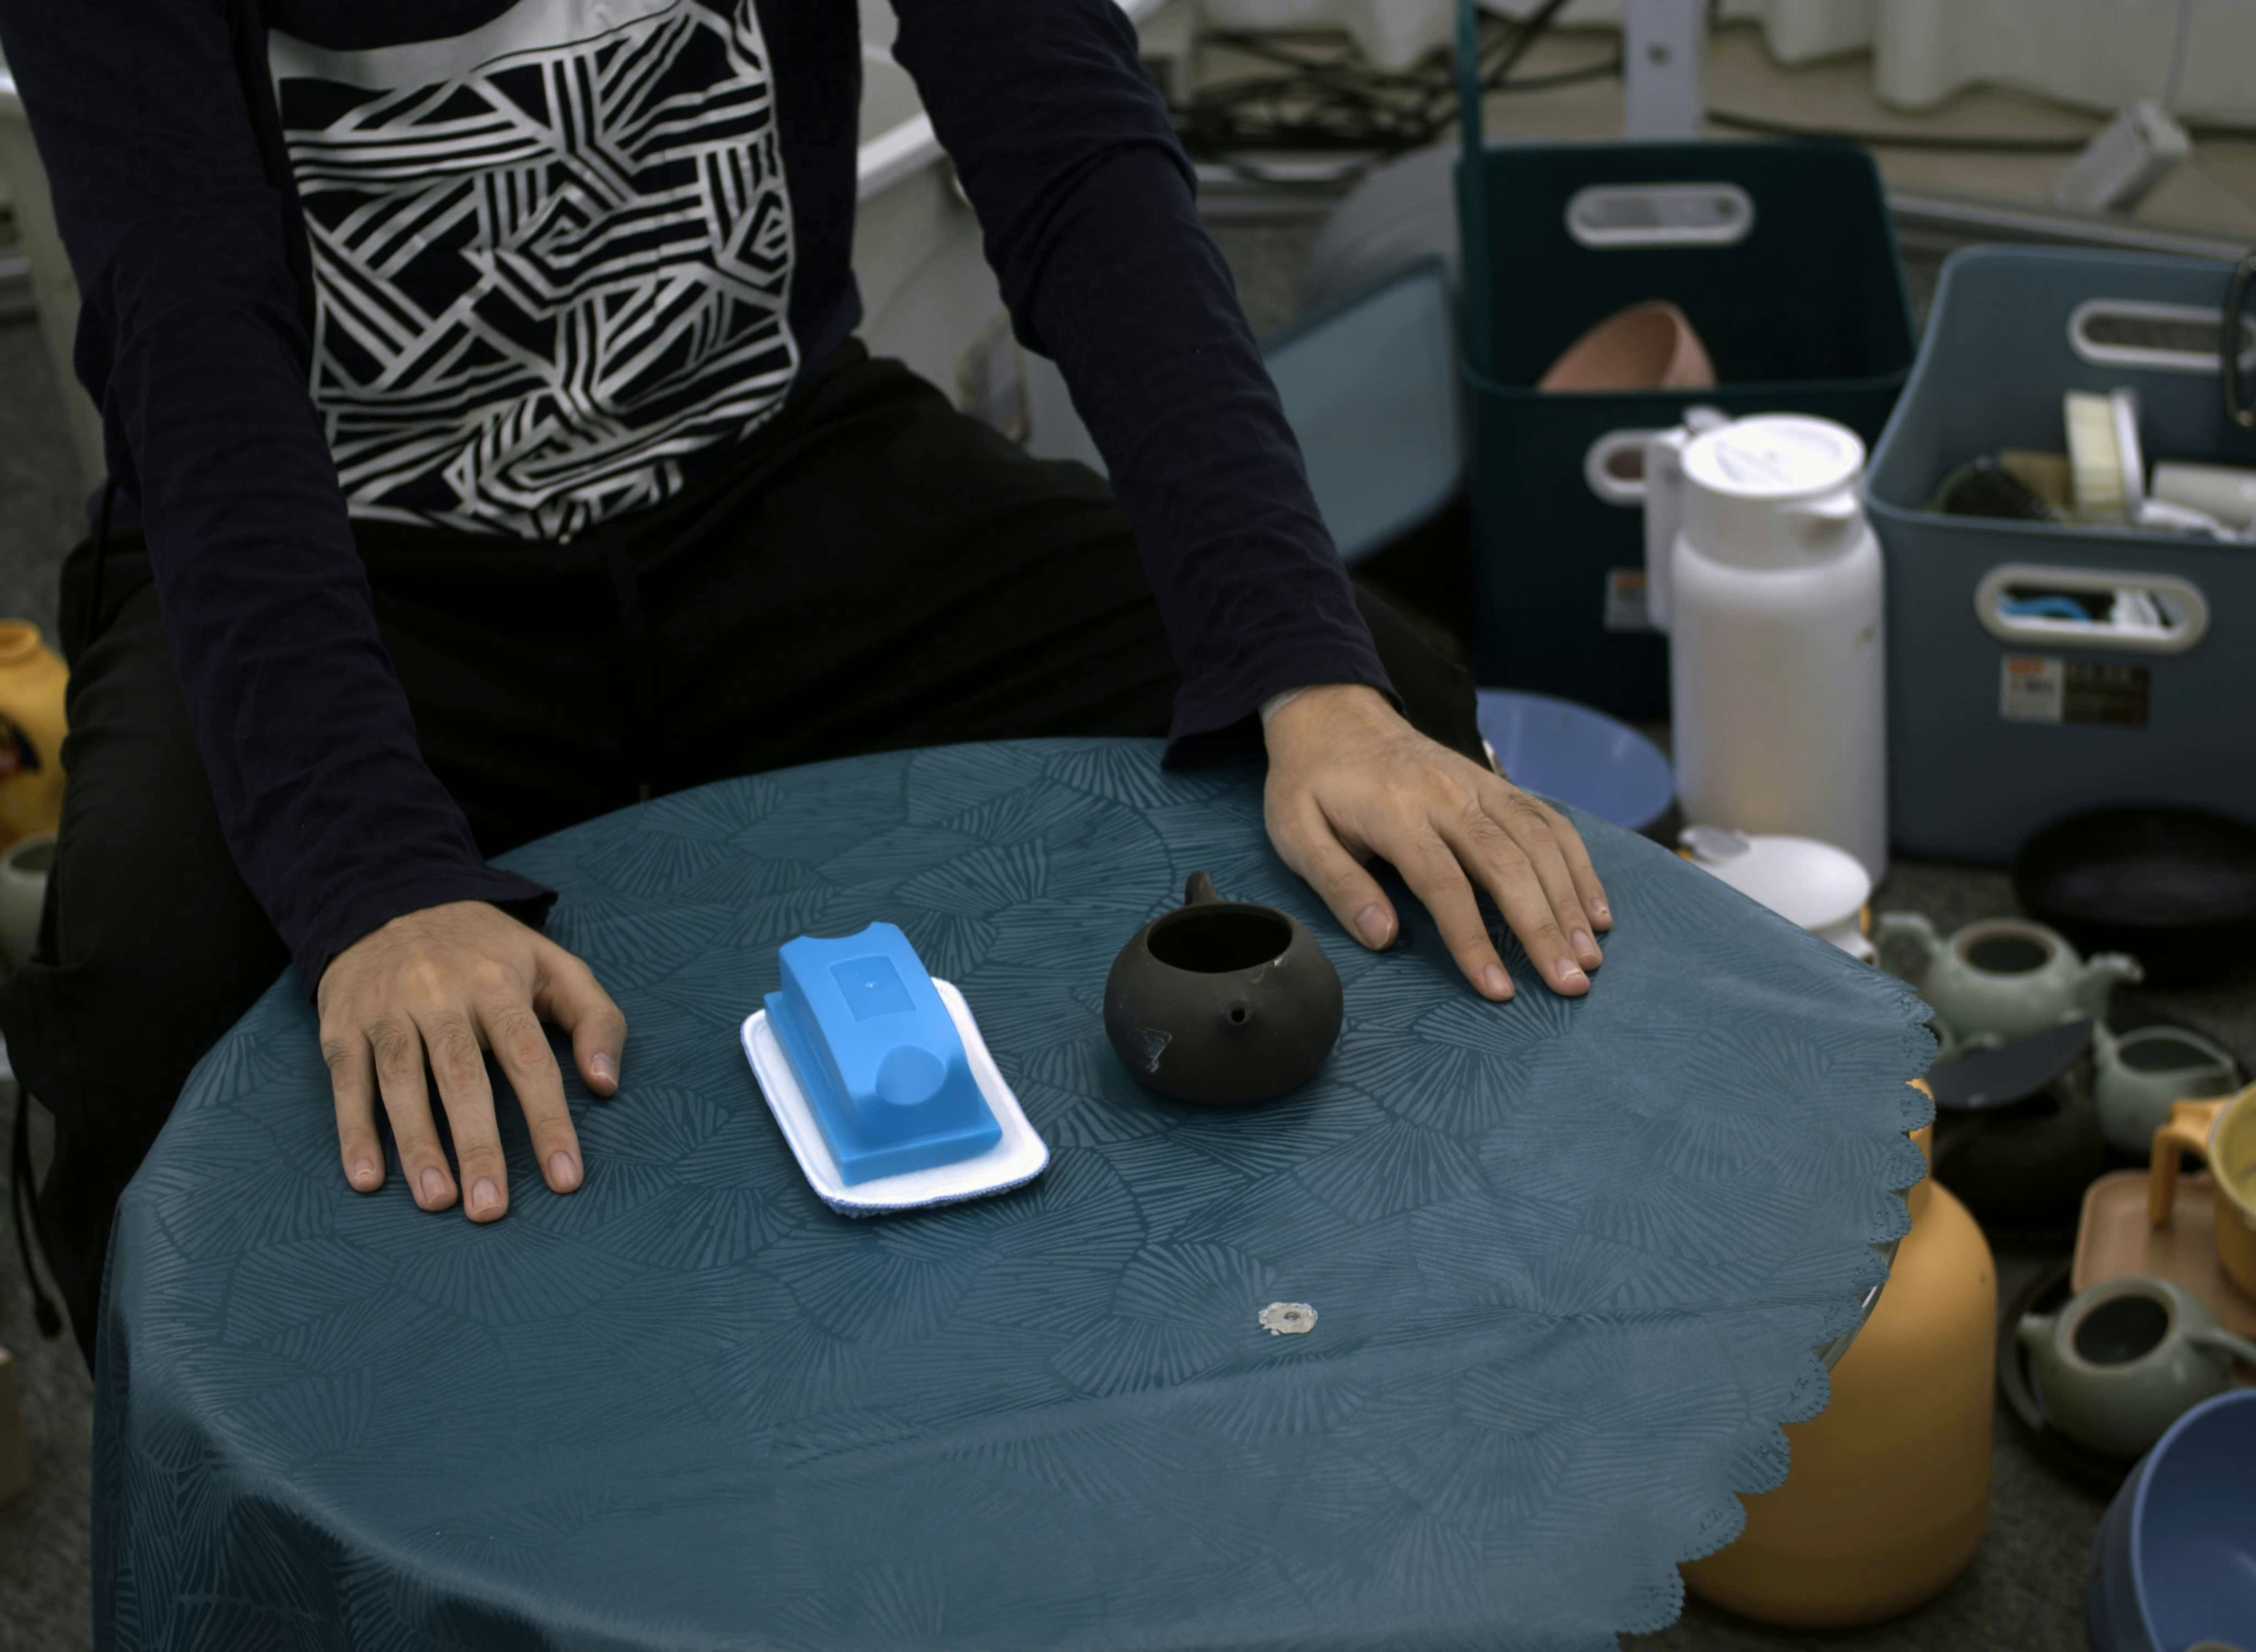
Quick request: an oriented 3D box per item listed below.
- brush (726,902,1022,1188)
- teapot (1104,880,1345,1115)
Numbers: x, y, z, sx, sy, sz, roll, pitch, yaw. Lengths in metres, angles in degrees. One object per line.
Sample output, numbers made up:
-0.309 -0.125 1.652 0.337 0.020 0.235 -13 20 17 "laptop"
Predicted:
-0.085 0.070 1.903 0.084 0.055 0.145 -6 29 -13 "brush"
0.032 0.057 1.929 0.082 0.052 0.116 -1 29 -3 "teapot"
